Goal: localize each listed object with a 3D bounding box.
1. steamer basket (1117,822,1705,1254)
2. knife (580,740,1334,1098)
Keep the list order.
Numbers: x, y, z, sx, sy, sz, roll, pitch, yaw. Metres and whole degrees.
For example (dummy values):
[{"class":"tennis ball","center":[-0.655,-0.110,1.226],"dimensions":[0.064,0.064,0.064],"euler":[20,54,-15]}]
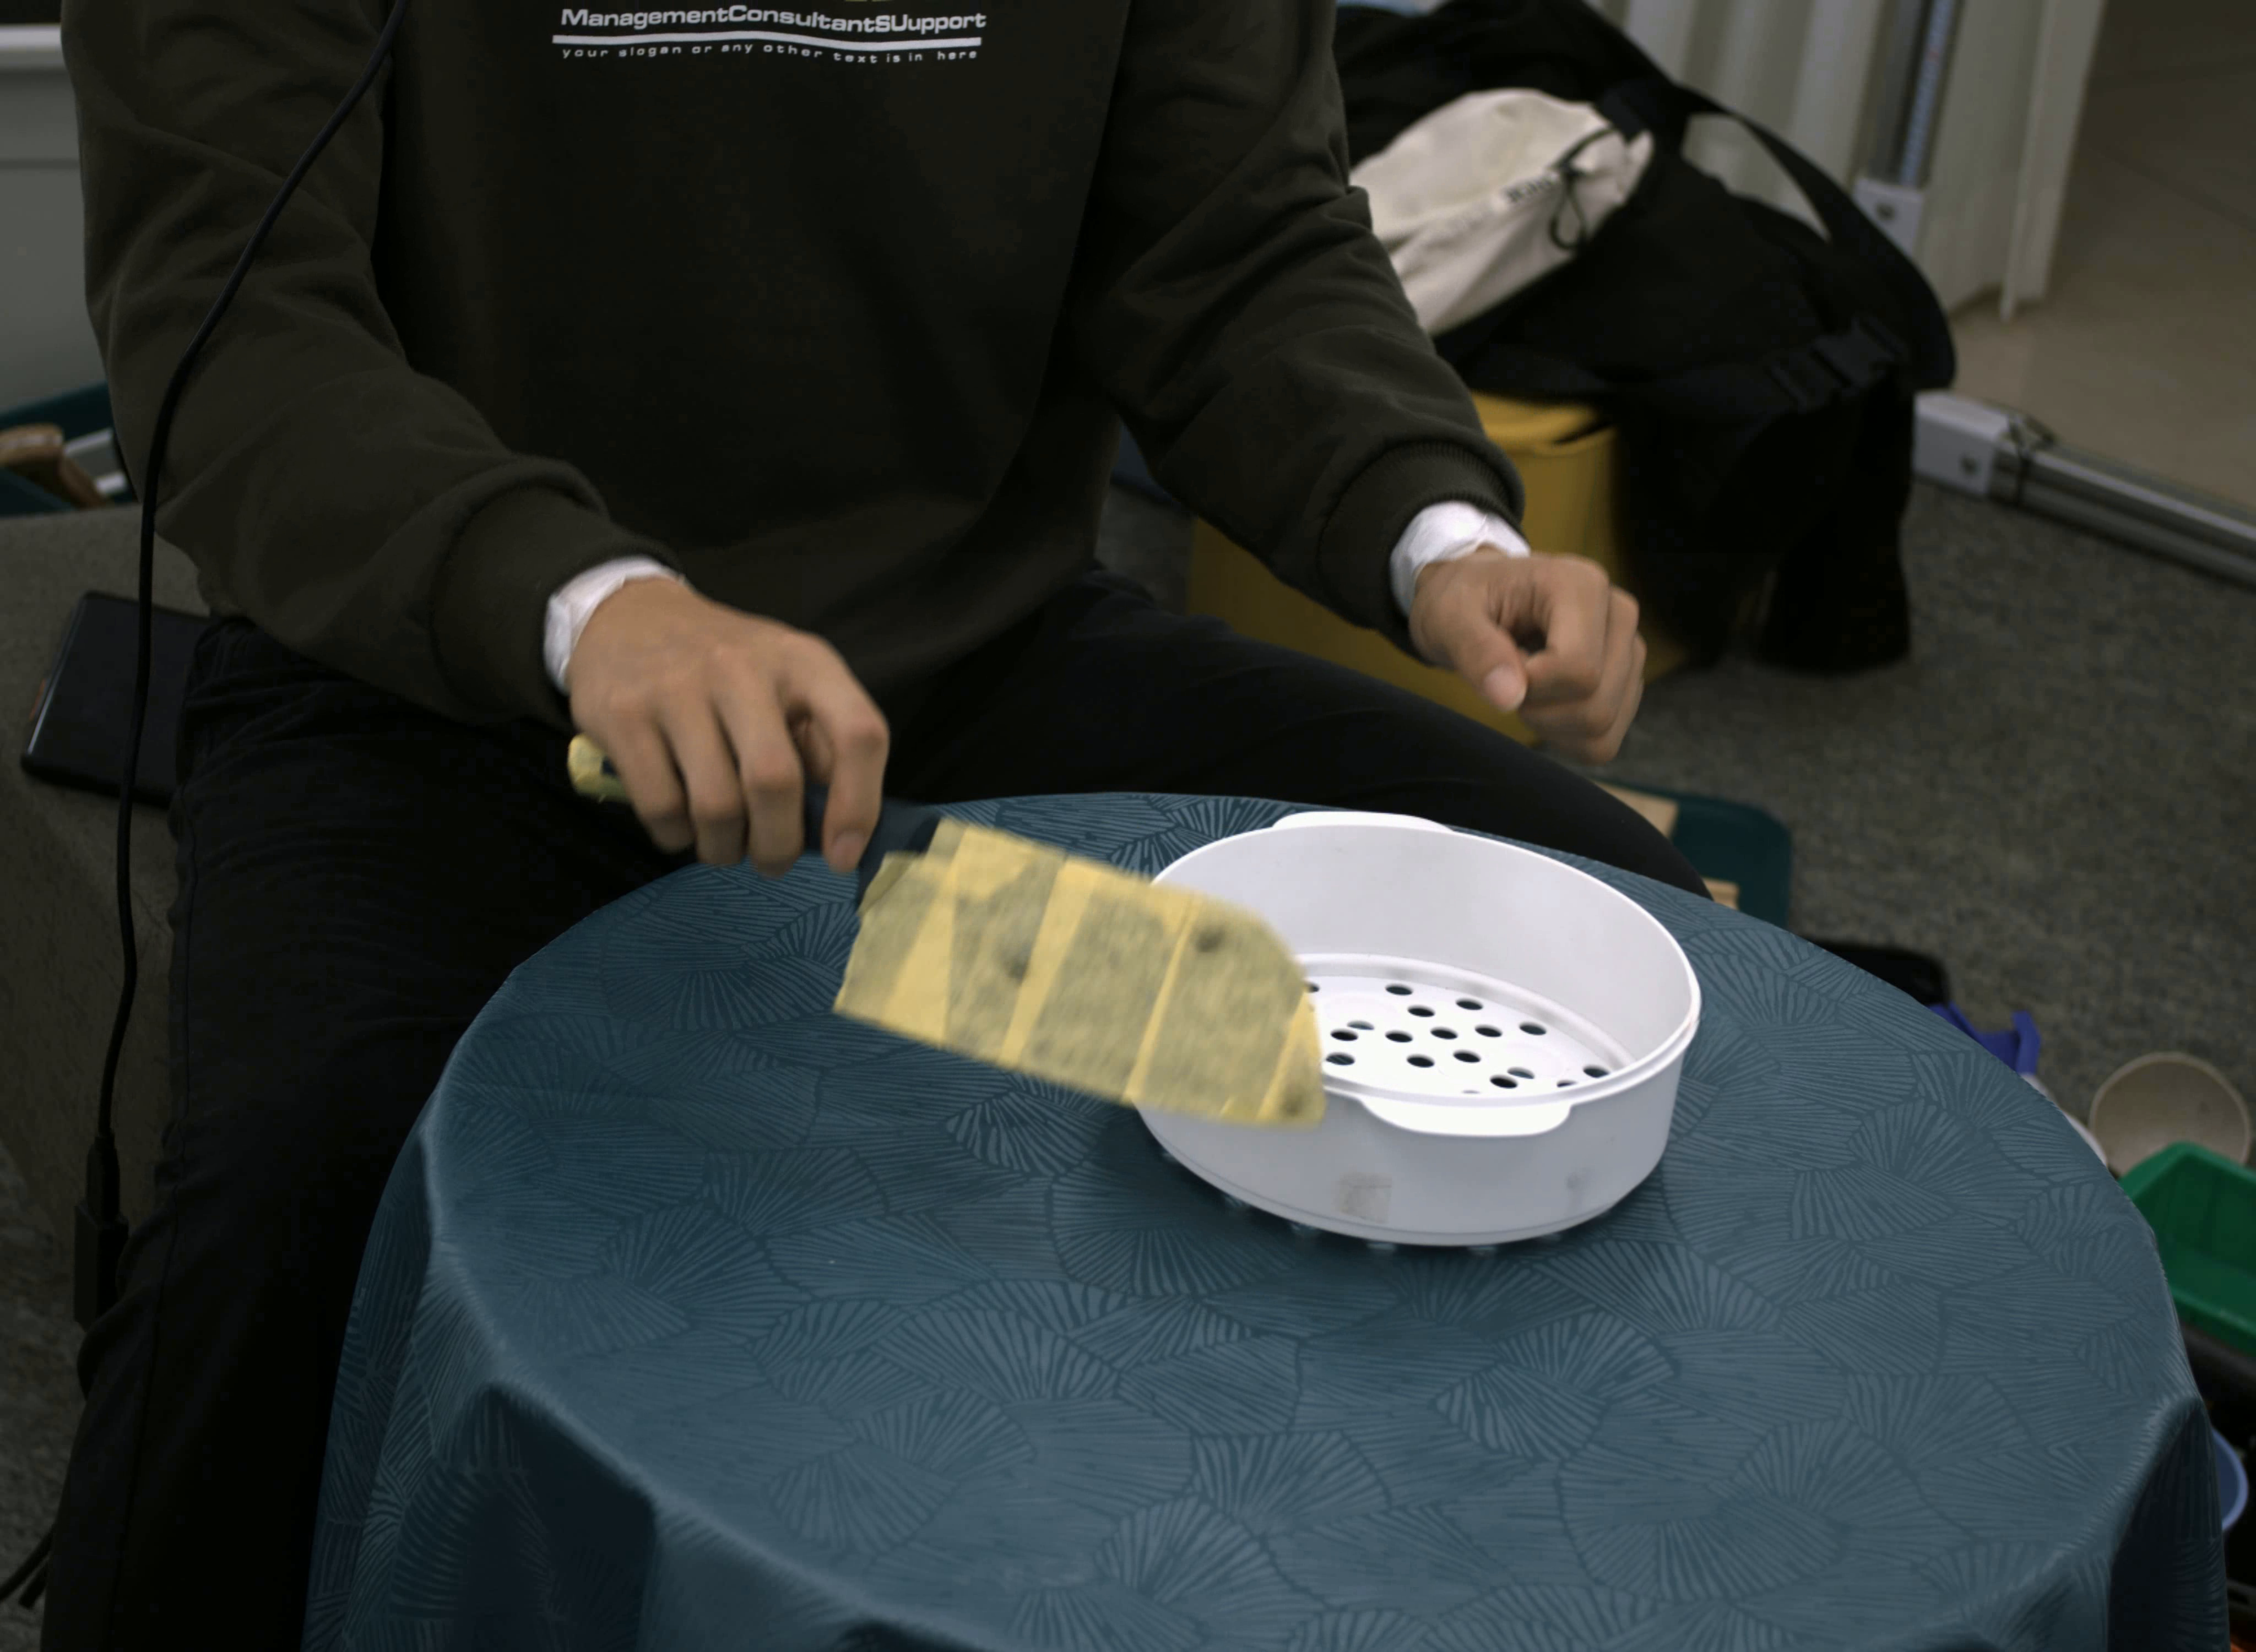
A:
[{"class":"steamer basket","center":[0.096,0.075,1.848],"dimensions":[0.201,0.069,0.232],"euler":[3,26,-9]},{"class":"knife","center":[-0.061,0.029,1.758],"dimensions":[0.290,0.081,0.027],"euler":[18,-10,23]}]
